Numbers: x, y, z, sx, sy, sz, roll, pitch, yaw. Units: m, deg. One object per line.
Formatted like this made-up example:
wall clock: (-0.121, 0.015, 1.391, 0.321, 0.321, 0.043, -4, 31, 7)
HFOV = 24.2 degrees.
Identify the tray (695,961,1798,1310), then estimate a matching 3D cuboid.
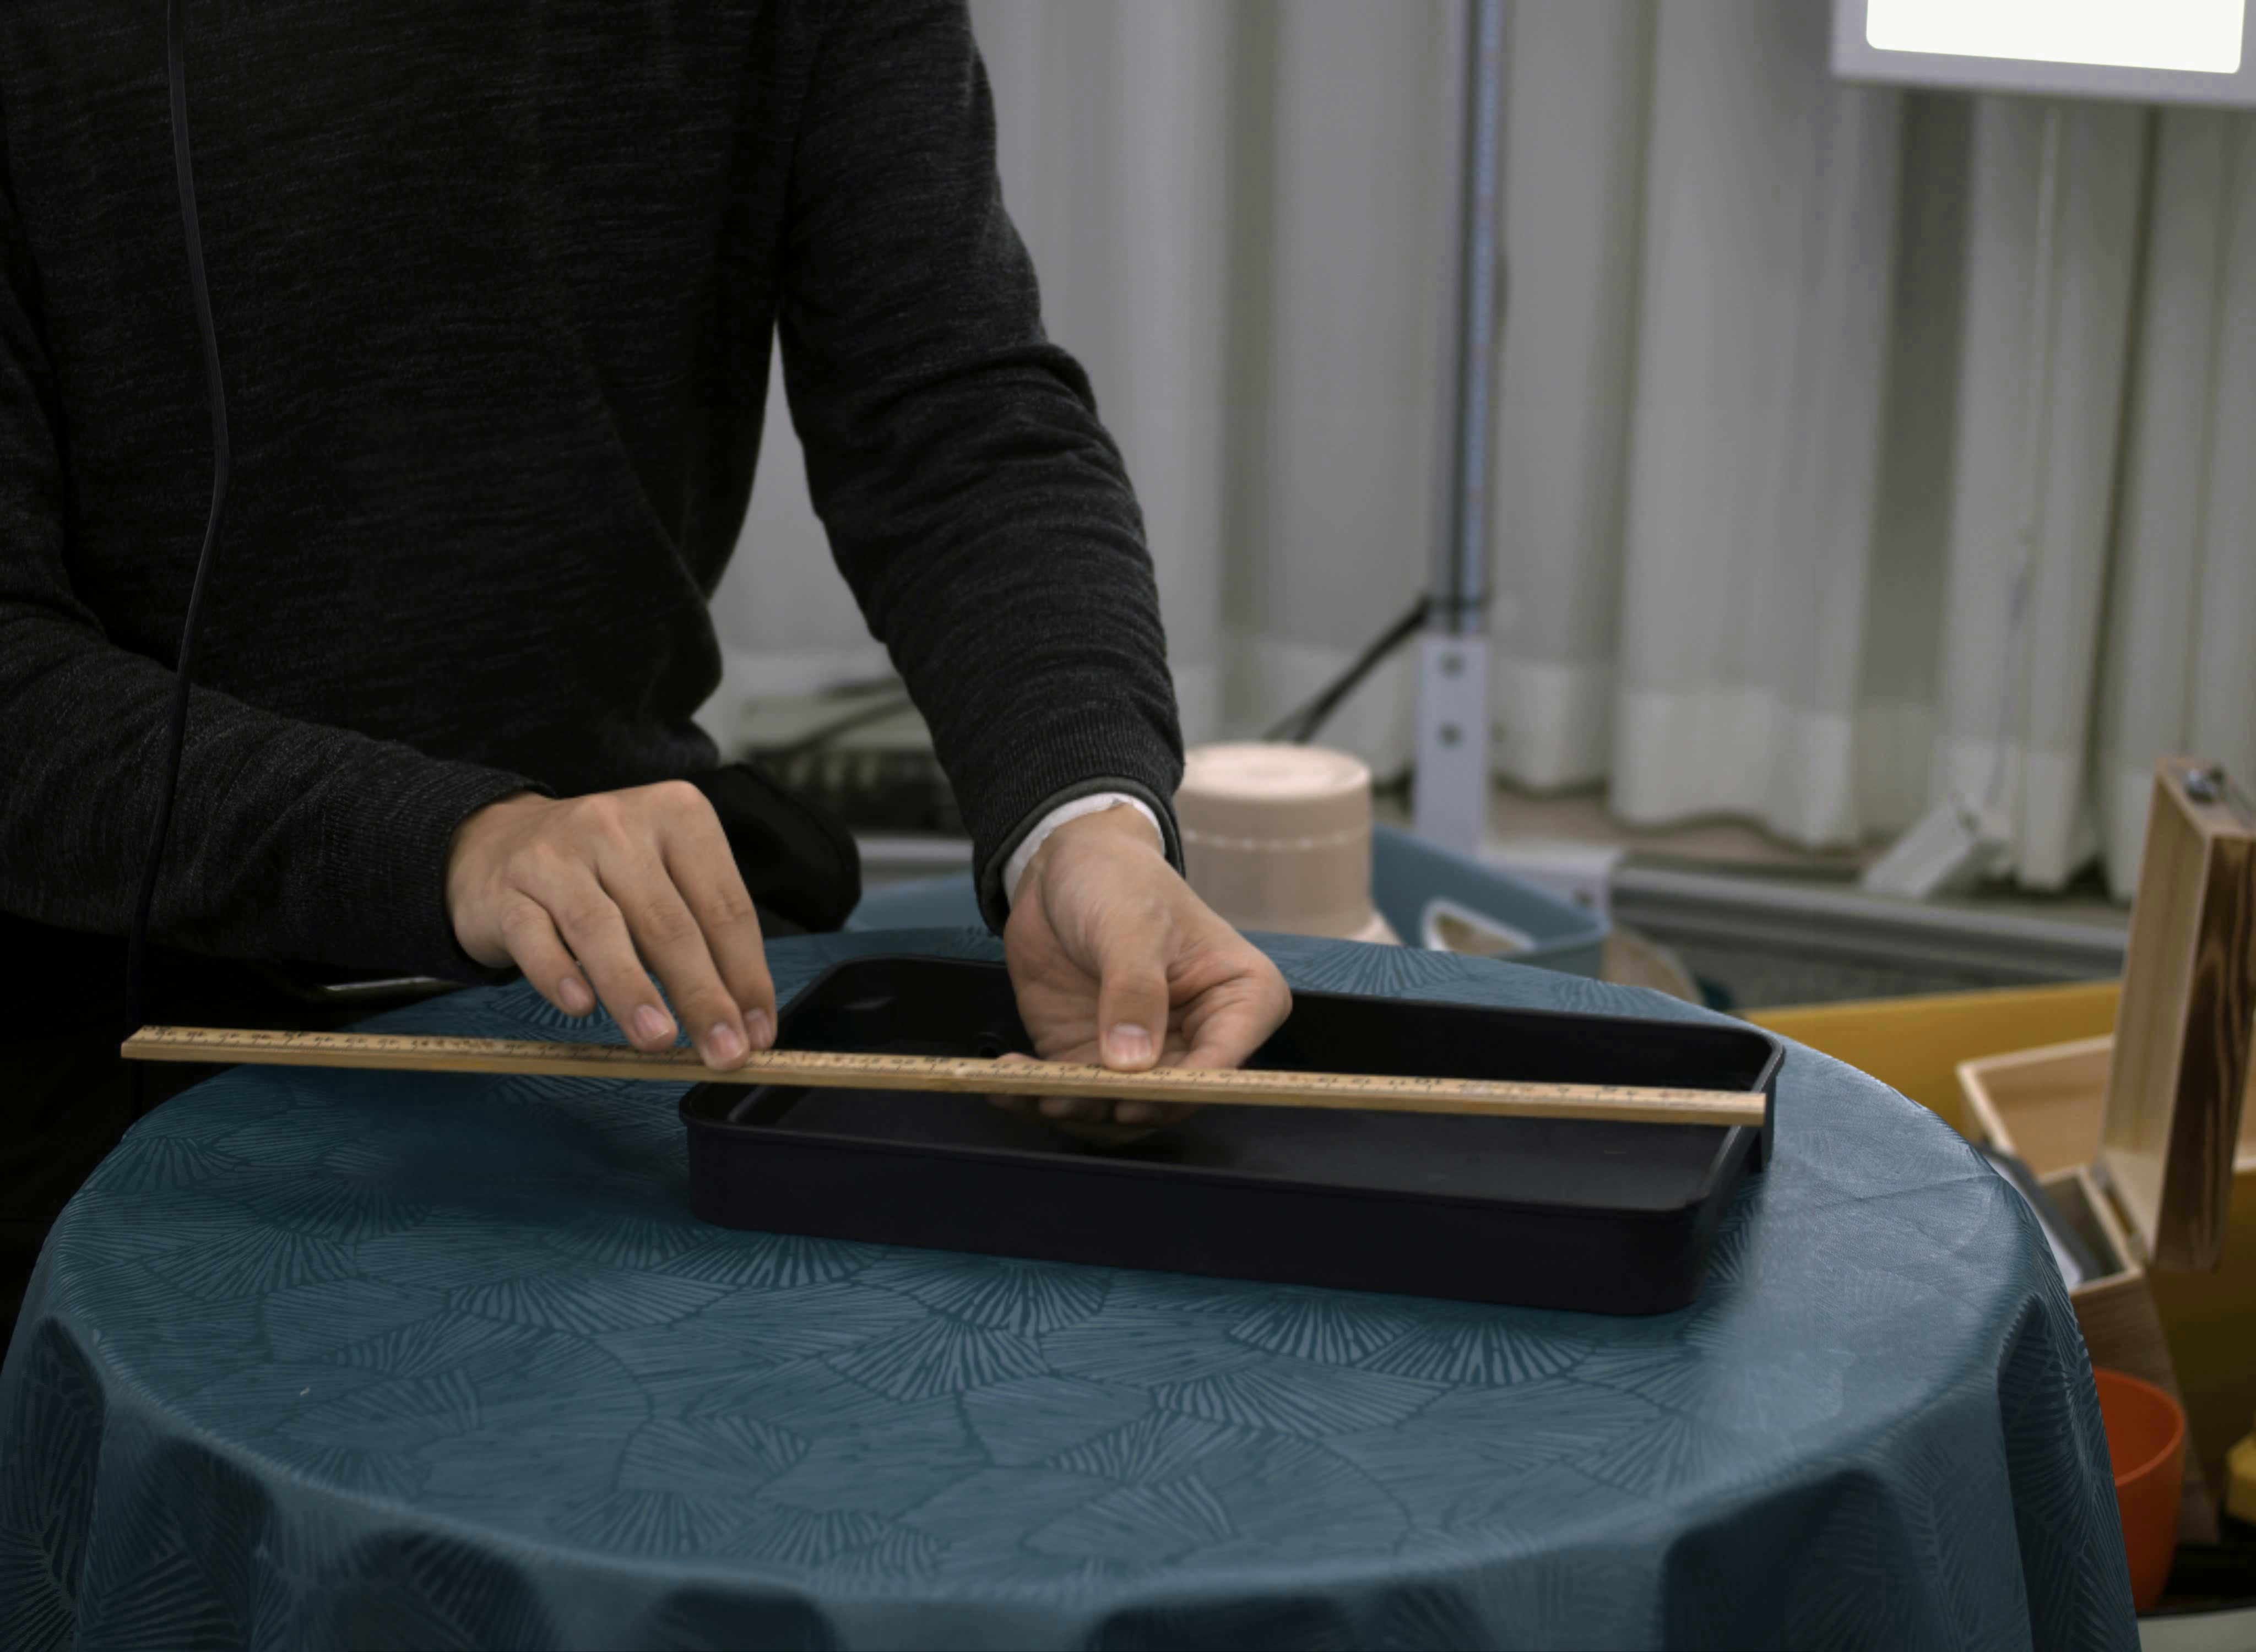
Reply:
tray: (0.040, 0.093, 1.627, 0.315, 0.037, 0.184, 4, 15, 13)

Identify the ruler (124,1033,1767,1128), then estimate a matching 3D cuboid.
ruler: (-0.059, 0.075, 1.581, 0.497, 0.006, 0.027, 2, 9, 8)
